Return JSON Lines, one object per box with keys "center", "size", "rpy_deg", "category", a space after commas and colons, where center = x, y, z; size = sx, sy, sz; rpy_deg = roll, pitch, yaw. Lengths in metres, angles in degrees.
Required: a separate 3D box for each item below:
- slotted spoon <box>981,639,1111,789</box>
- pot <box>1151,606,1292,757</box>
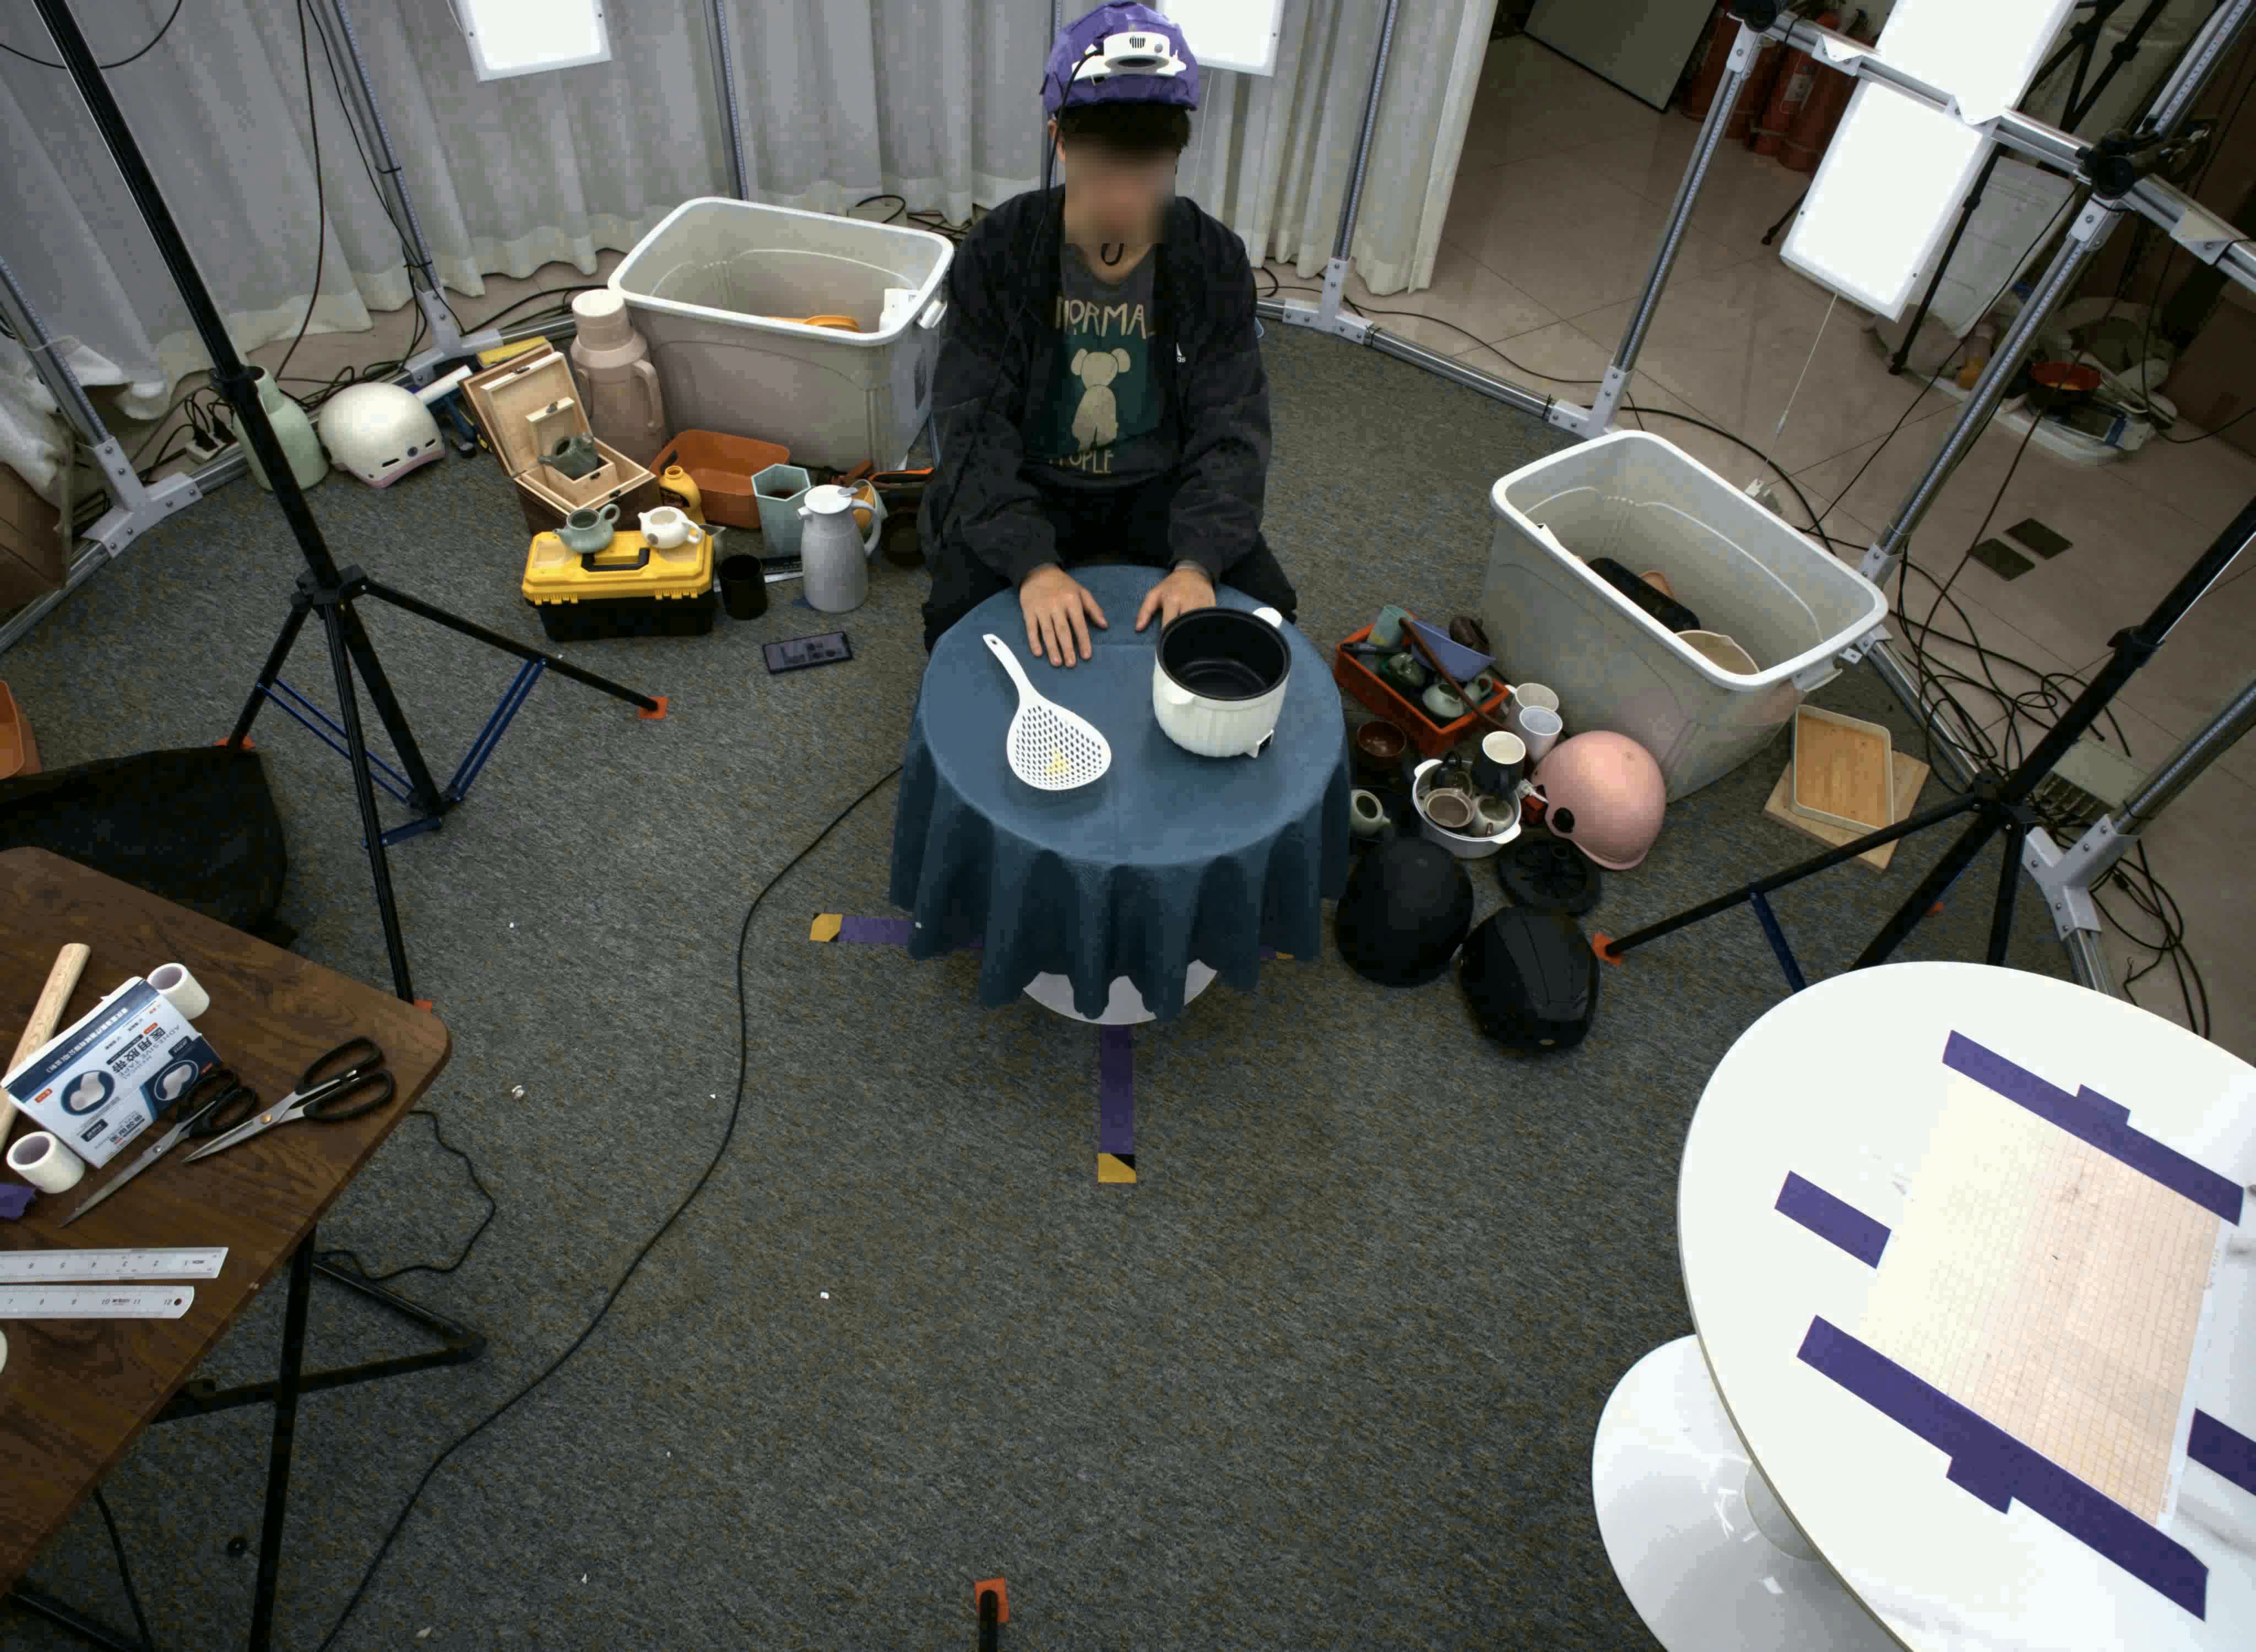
{"center": [-0.135, -0.166, 1.775], "size": [0.137, 0.049, 0.356], "rpy_deg": [-17, 52, -15], "category": "slotted spoon"}
{"center": [0.118, -0.191, 1.751], "size": [0.193, 0.139, 0.243], "rpy_deg": [34, 54, 21], "category": "pot"}
